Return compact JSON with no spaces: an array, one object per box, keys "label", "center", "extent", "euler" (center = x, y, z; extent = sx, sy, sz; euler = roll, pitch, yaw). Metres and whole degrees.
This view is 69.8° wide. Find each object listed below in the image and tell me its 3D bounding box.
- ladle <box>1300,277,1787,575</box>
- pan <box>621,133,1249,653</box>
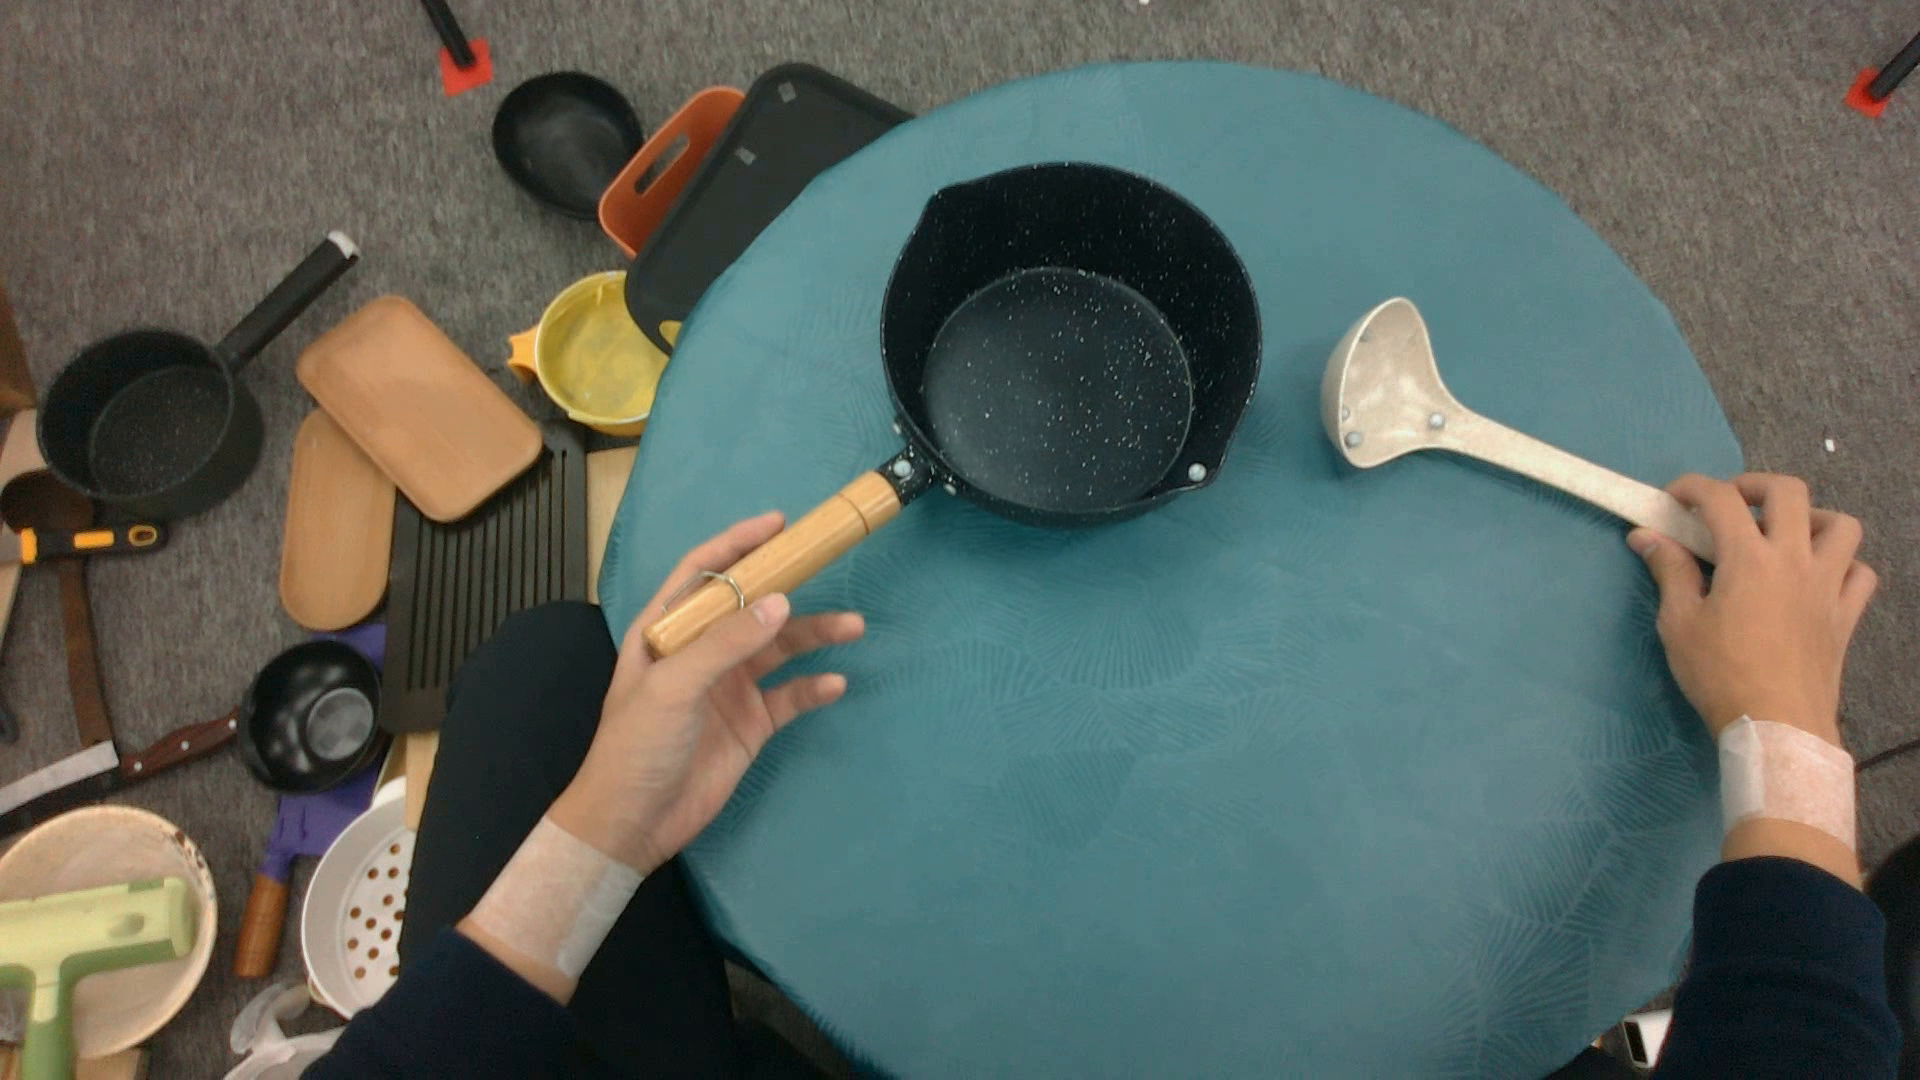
[{"label":"ladle","center":[0.304,-0.047,0.698],"extent":[0.275,0.069,0.089],"euler":[24,80,5]},{"label":"pan","center":[-0.014,-0.052,0.670],"extent":[0.343,0.108,0.207],"euler":[-41,81,-12]}]
